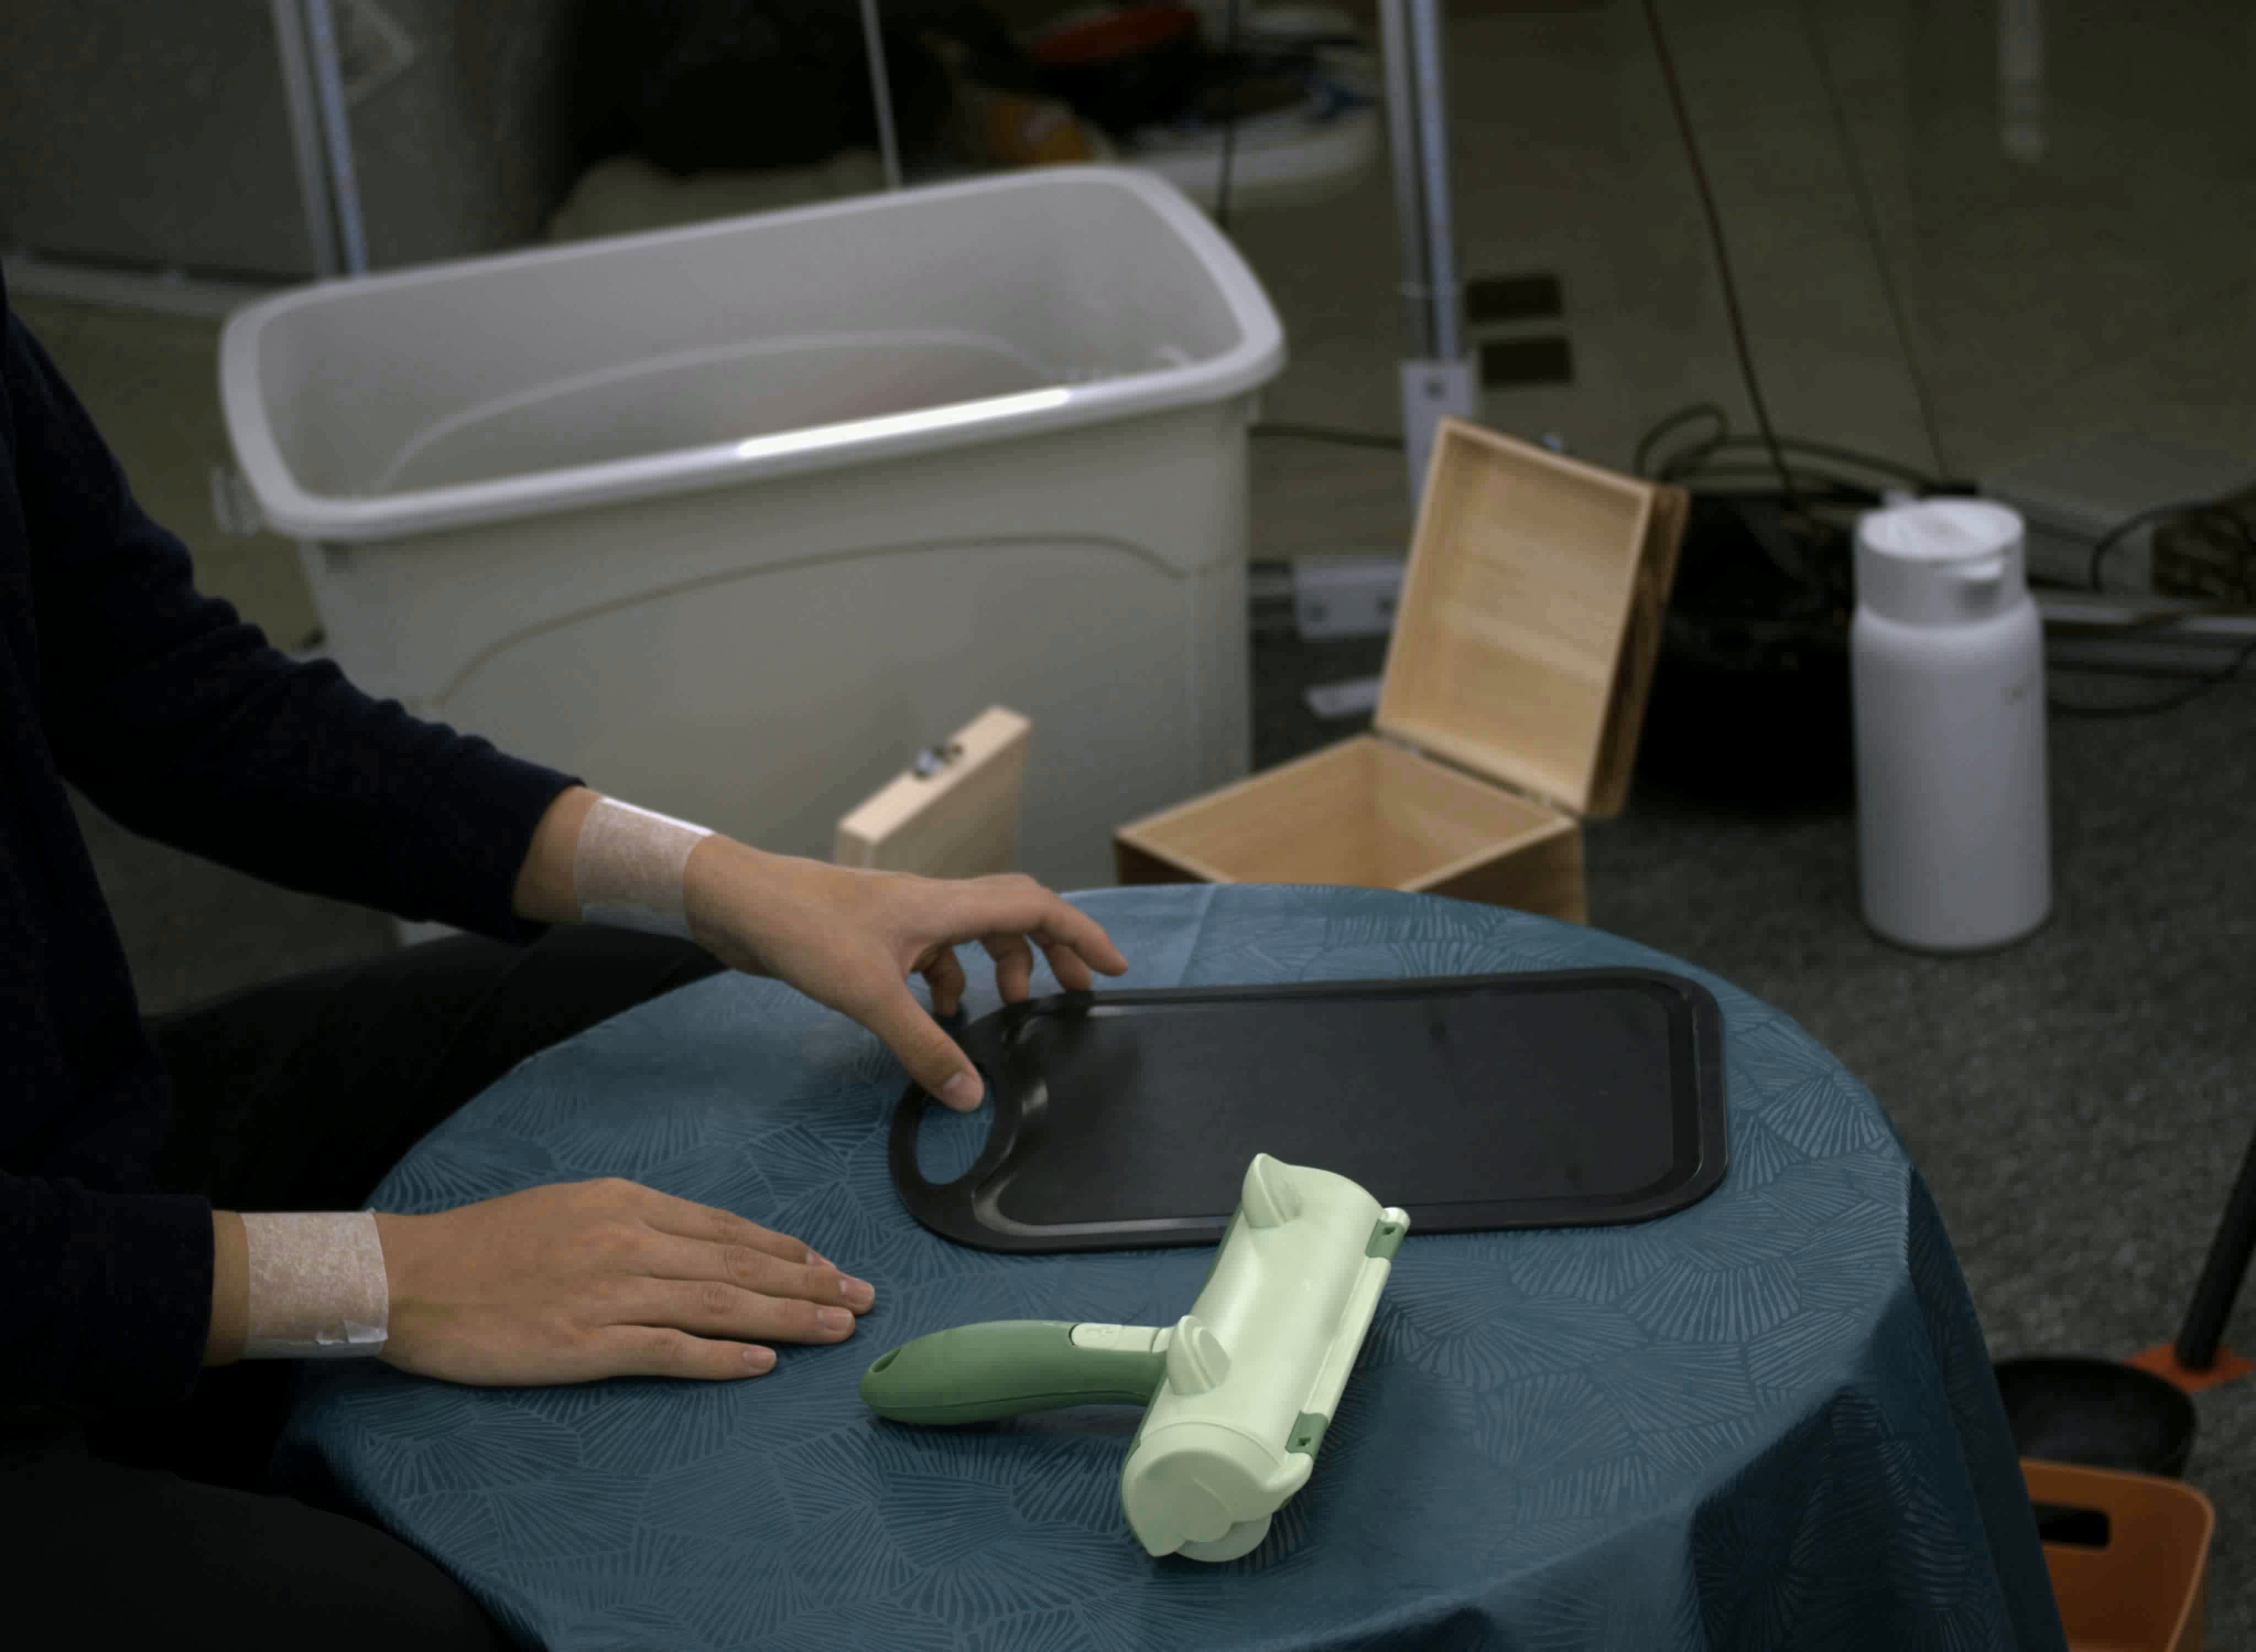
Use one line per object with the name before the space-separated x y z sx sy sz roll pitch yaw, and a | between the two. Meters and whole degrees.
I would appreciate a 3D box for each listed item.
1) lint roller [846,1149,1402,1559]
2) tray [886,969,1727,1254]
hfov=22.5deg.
lint roller | -0.010 0.171 1.977 0.183 0.083 0.196 6 26 11
tray | 0.068 0.108 2.190 0.325 0.010 0.208 -3 25 7
